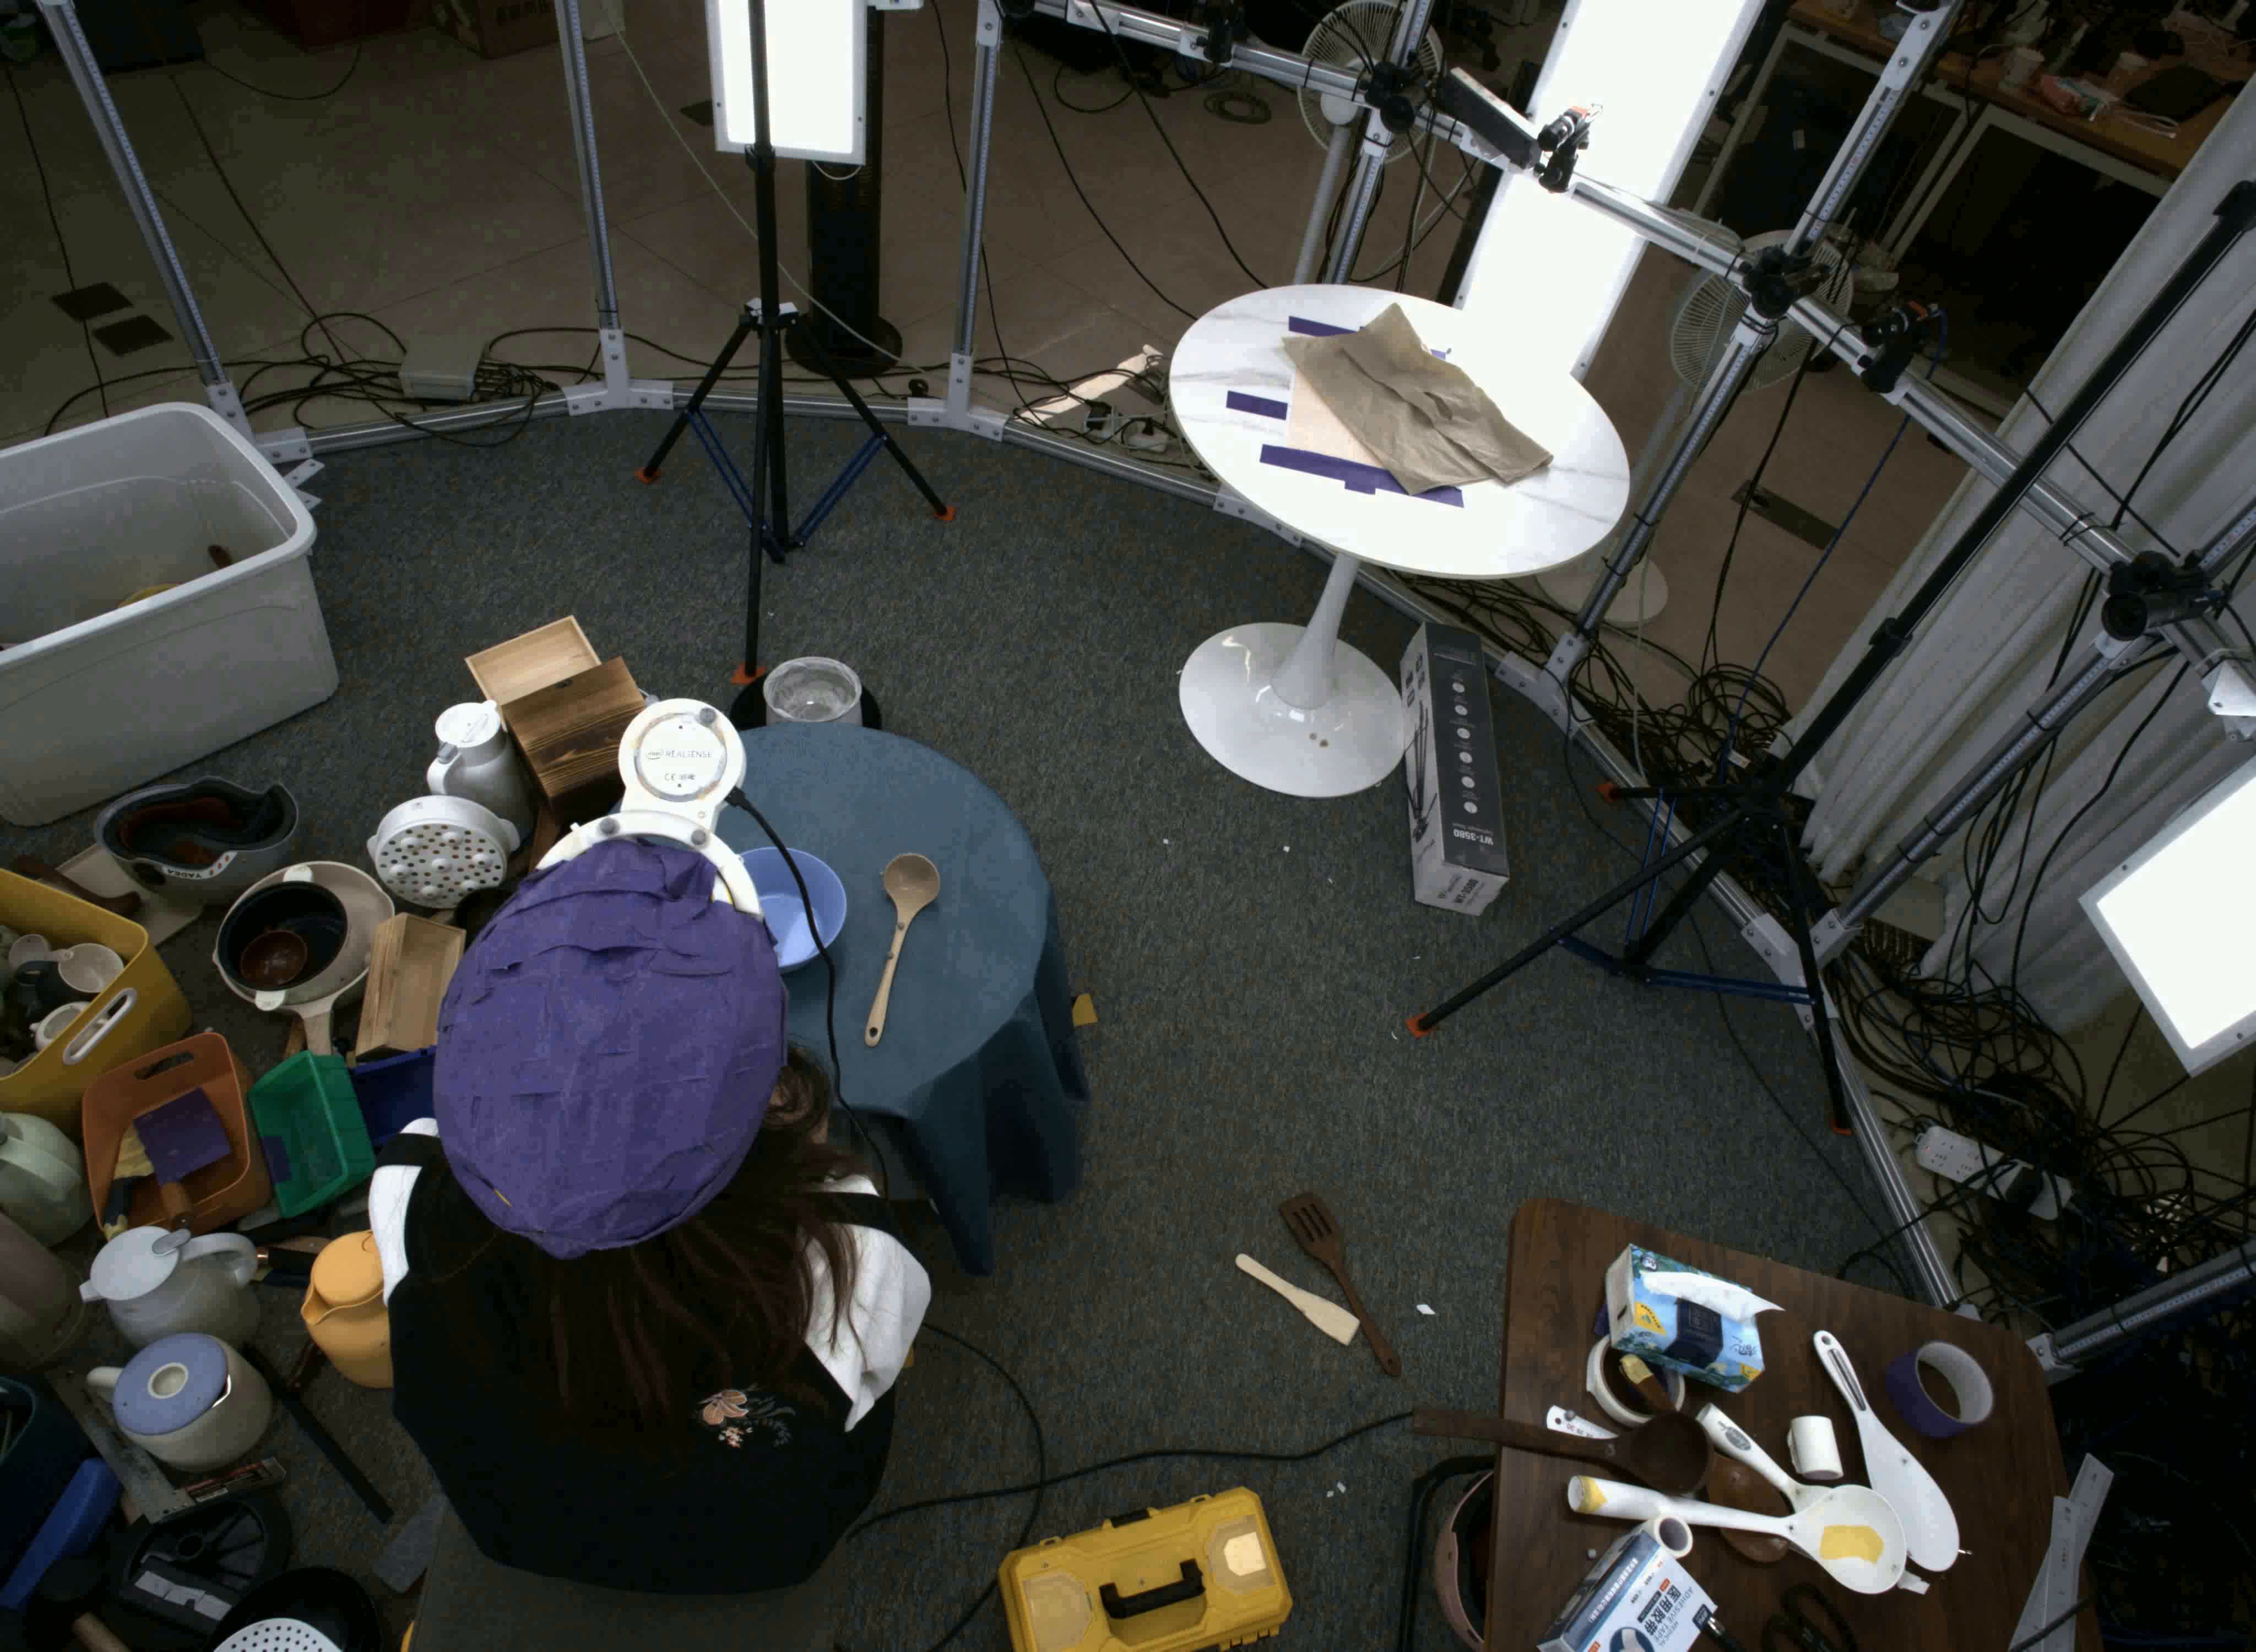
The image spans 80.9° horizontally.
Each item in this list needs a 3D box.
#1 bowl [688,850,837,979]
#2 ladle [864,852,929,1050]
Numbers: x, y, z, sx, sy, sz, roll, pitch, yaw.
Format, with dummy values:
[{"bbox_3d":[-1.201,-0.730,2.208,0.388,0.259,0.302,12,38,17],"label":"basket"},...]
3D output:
[{"bbox_3d":[-0.443,0.117,1.582,0.175,0.072,0.173,7,52,-8],"label":"bowl"},{"bbox_3d":[-0.295,0.143,1.598,0.072,0.074,0.250,8,52,-5],"label":"ladle"}]
